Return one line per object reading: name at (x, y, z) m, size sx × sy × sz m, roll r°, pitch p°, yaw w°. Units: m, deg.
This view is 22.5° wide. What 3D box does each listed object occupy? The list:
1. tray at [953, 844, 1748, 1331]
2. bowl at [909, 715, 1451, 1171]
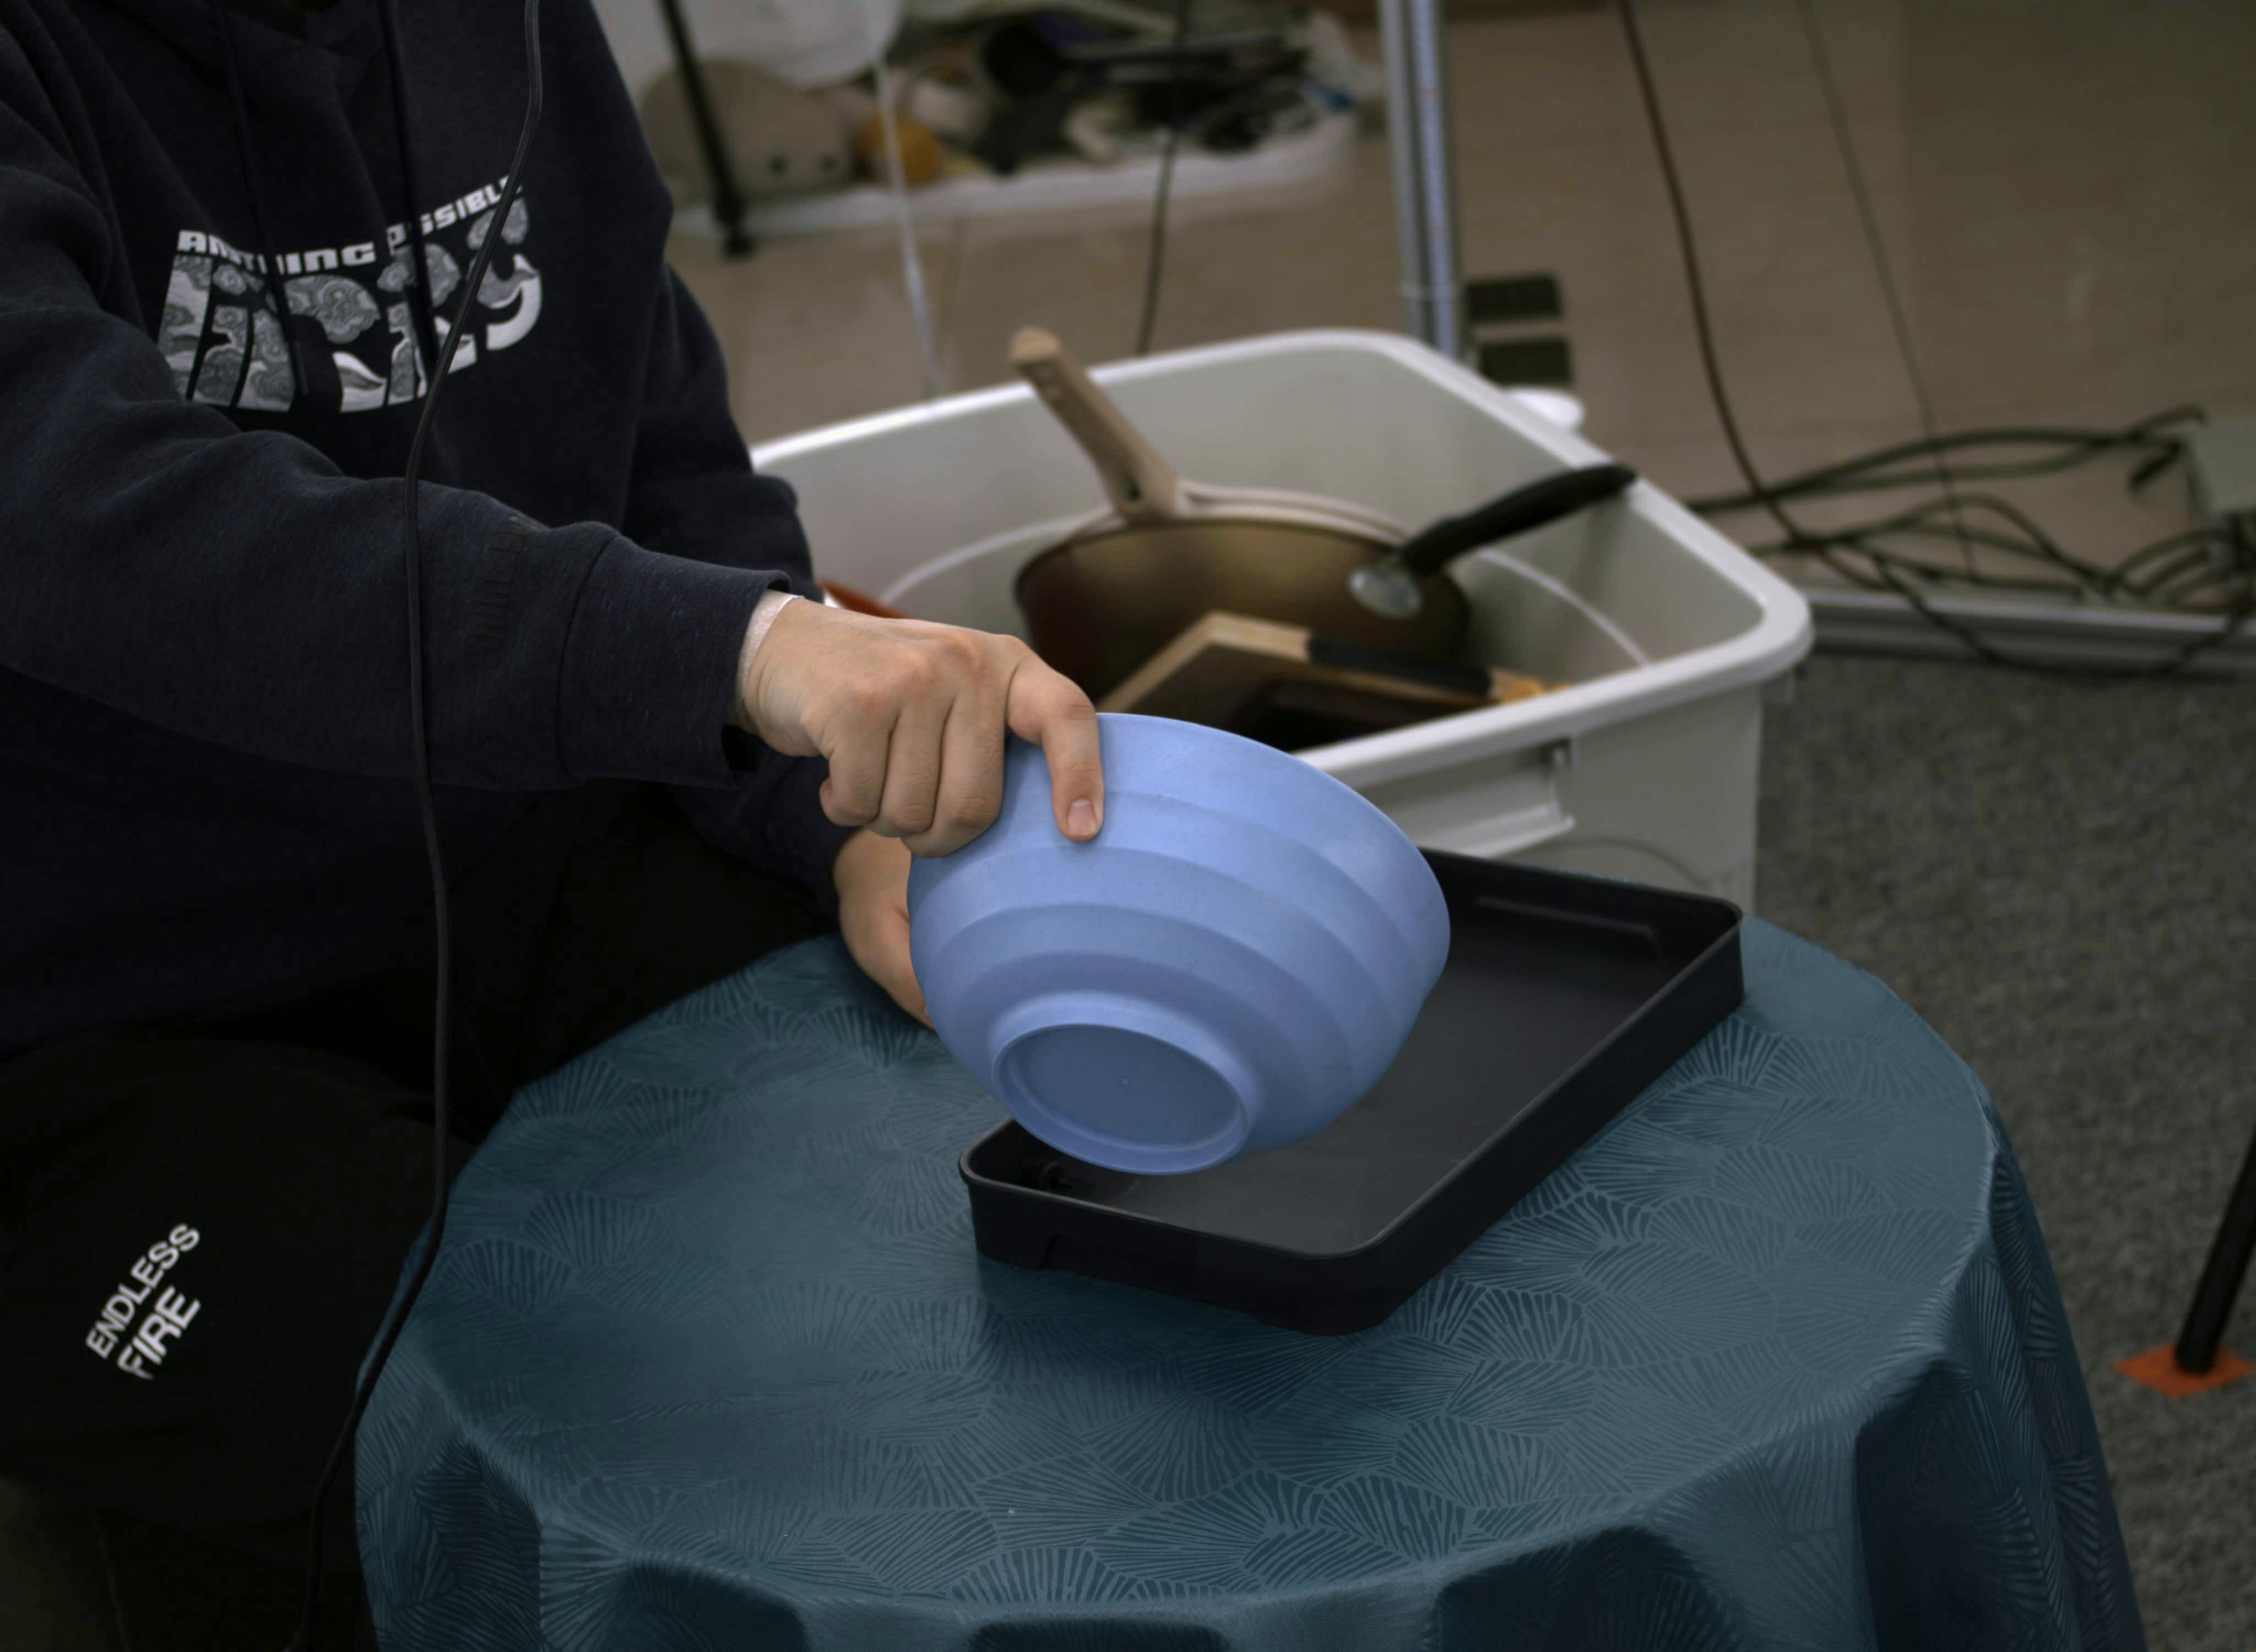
tray at (0.091, 0.094, 2.177) m, size 0.183 × 0.037 × 0.314 m, roll 11°, pitch 29°, yaw 33°
bowl at (0.007, 0.057, 1.983) m, size 0.196 × 0.200 × 0.094 m, roll 4°, pitch 55°, yaw 20°
